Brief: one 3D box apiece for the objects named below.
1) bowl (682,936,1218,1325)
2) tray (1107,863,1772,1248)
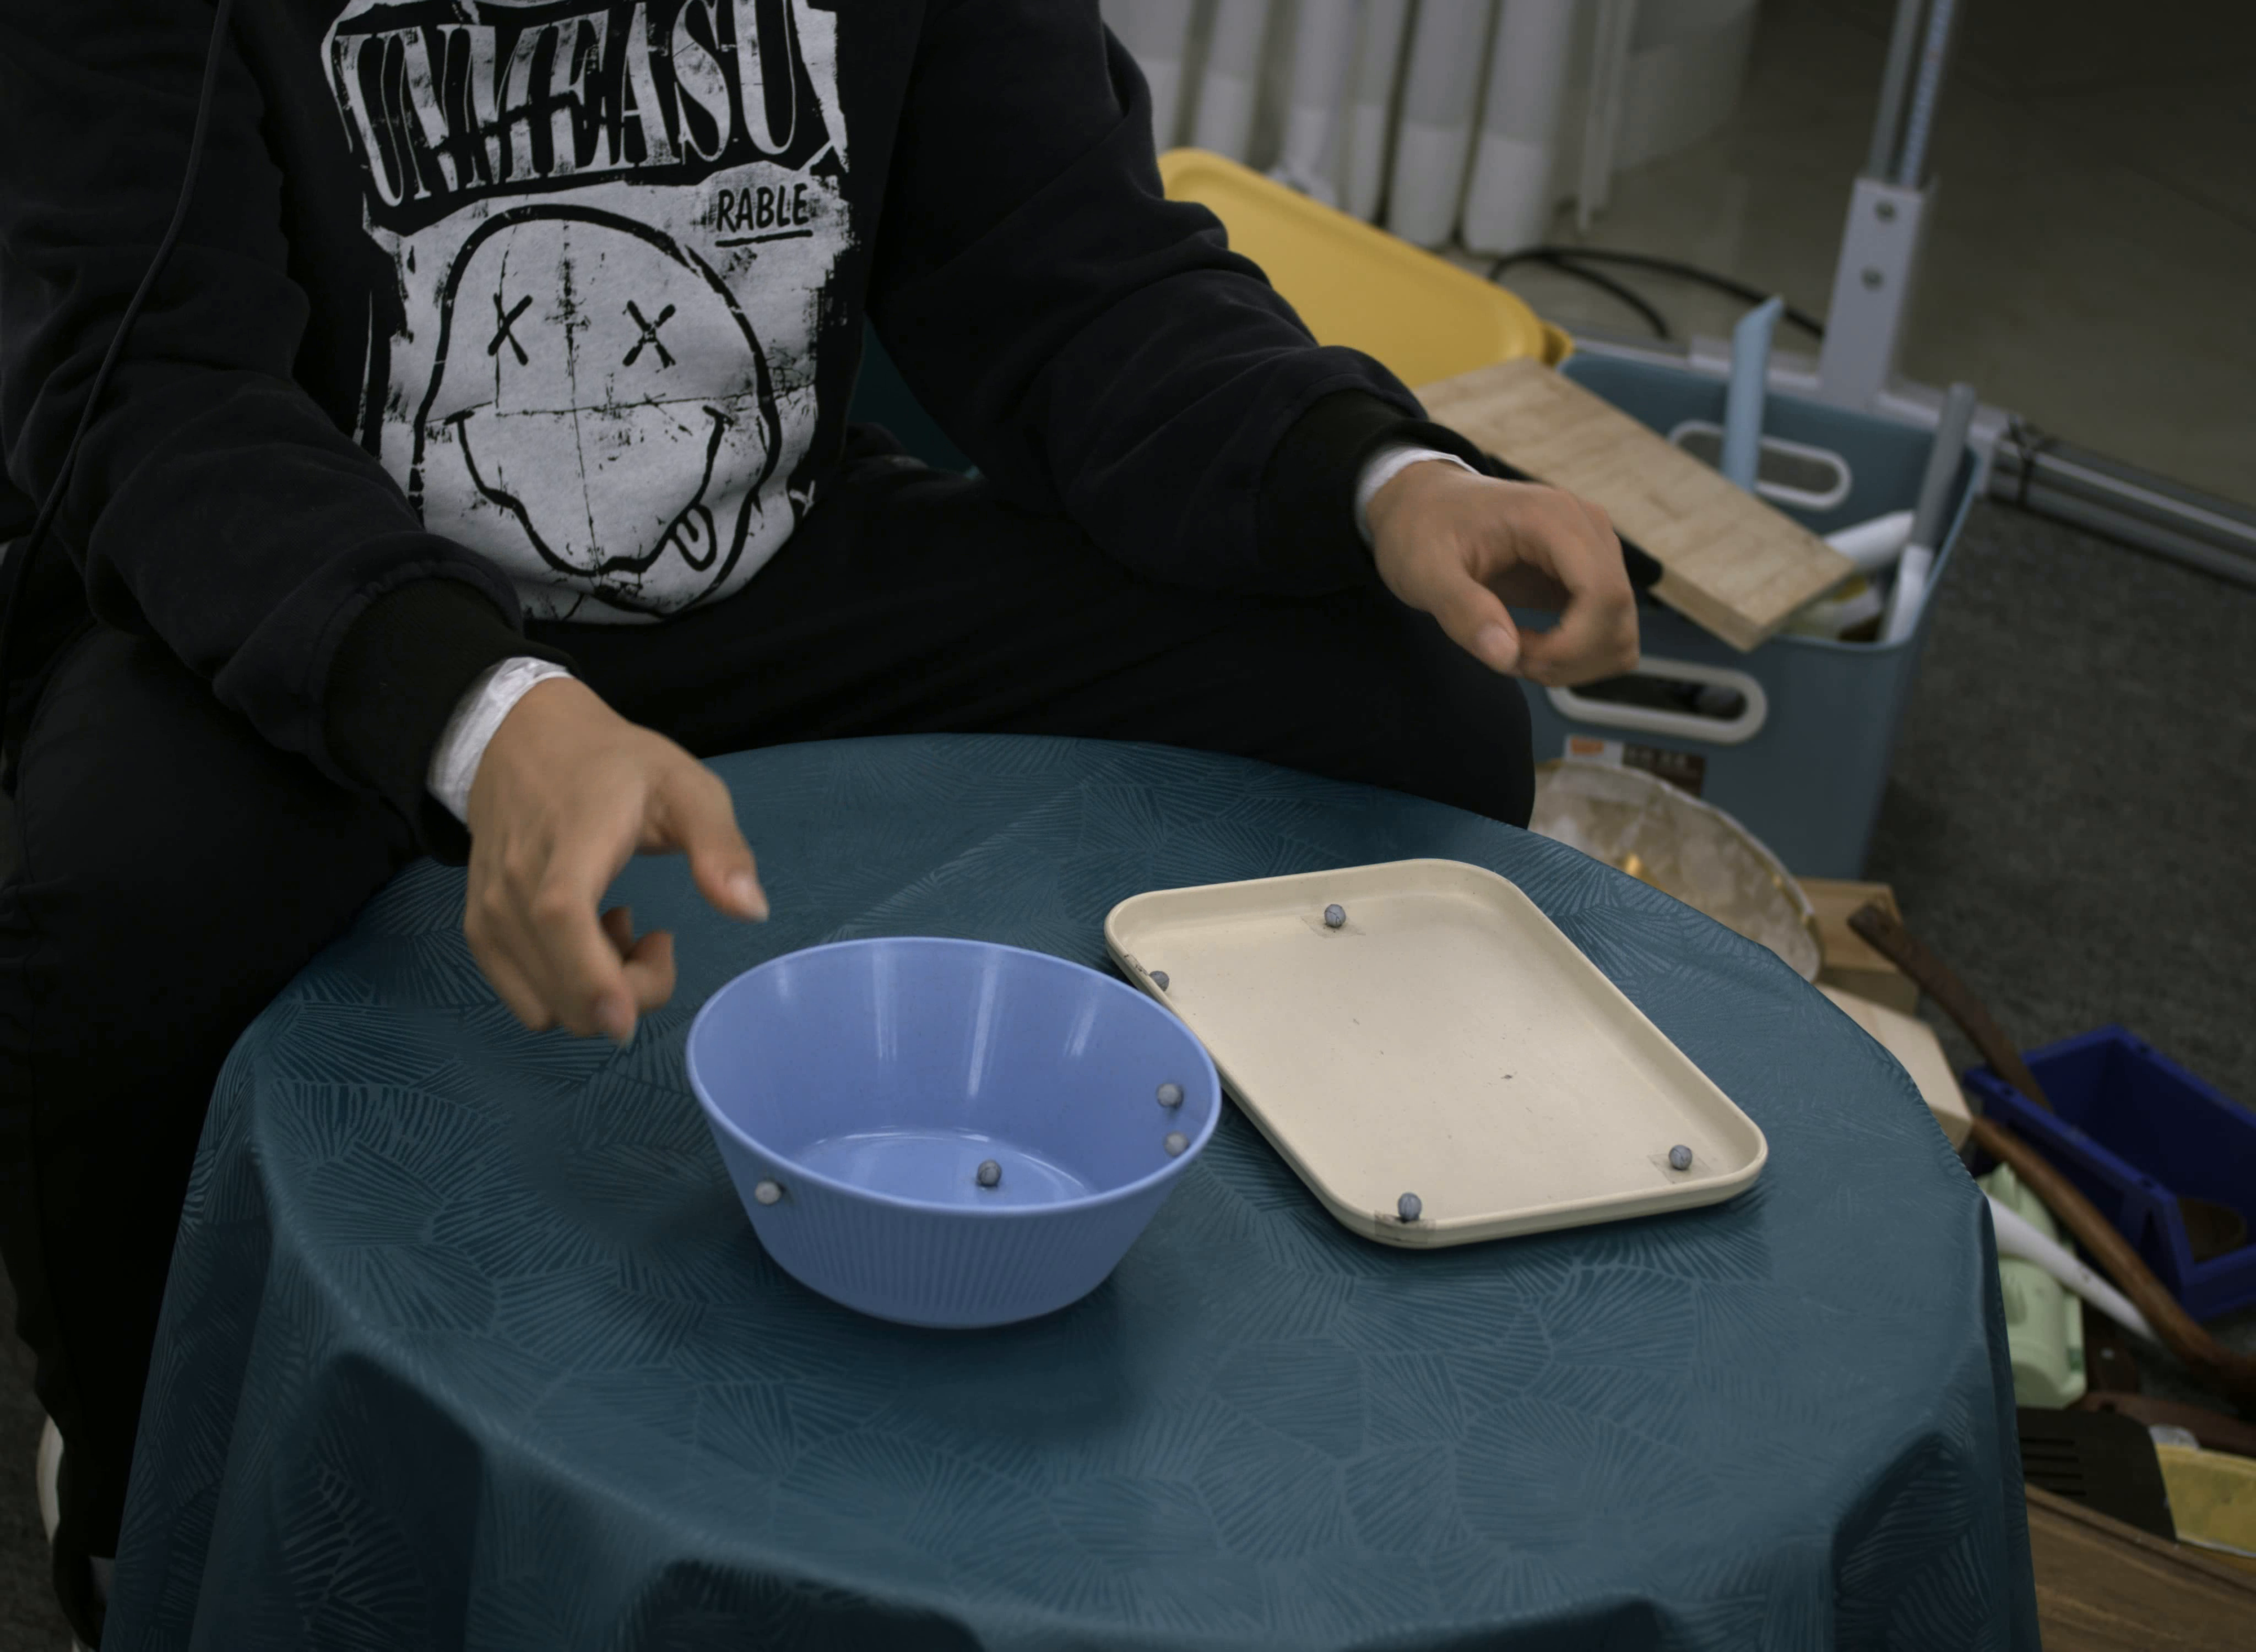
[{"bbox_3d":[-0.061,0.106,1.743,0.175,0.070,0.177,6,27,-3],"label":"bowl"},{"bbox_3d":[0.107,0.080,1.891,0.170,0.017,0.242,-6,29,-24],"label":"tray"}]
